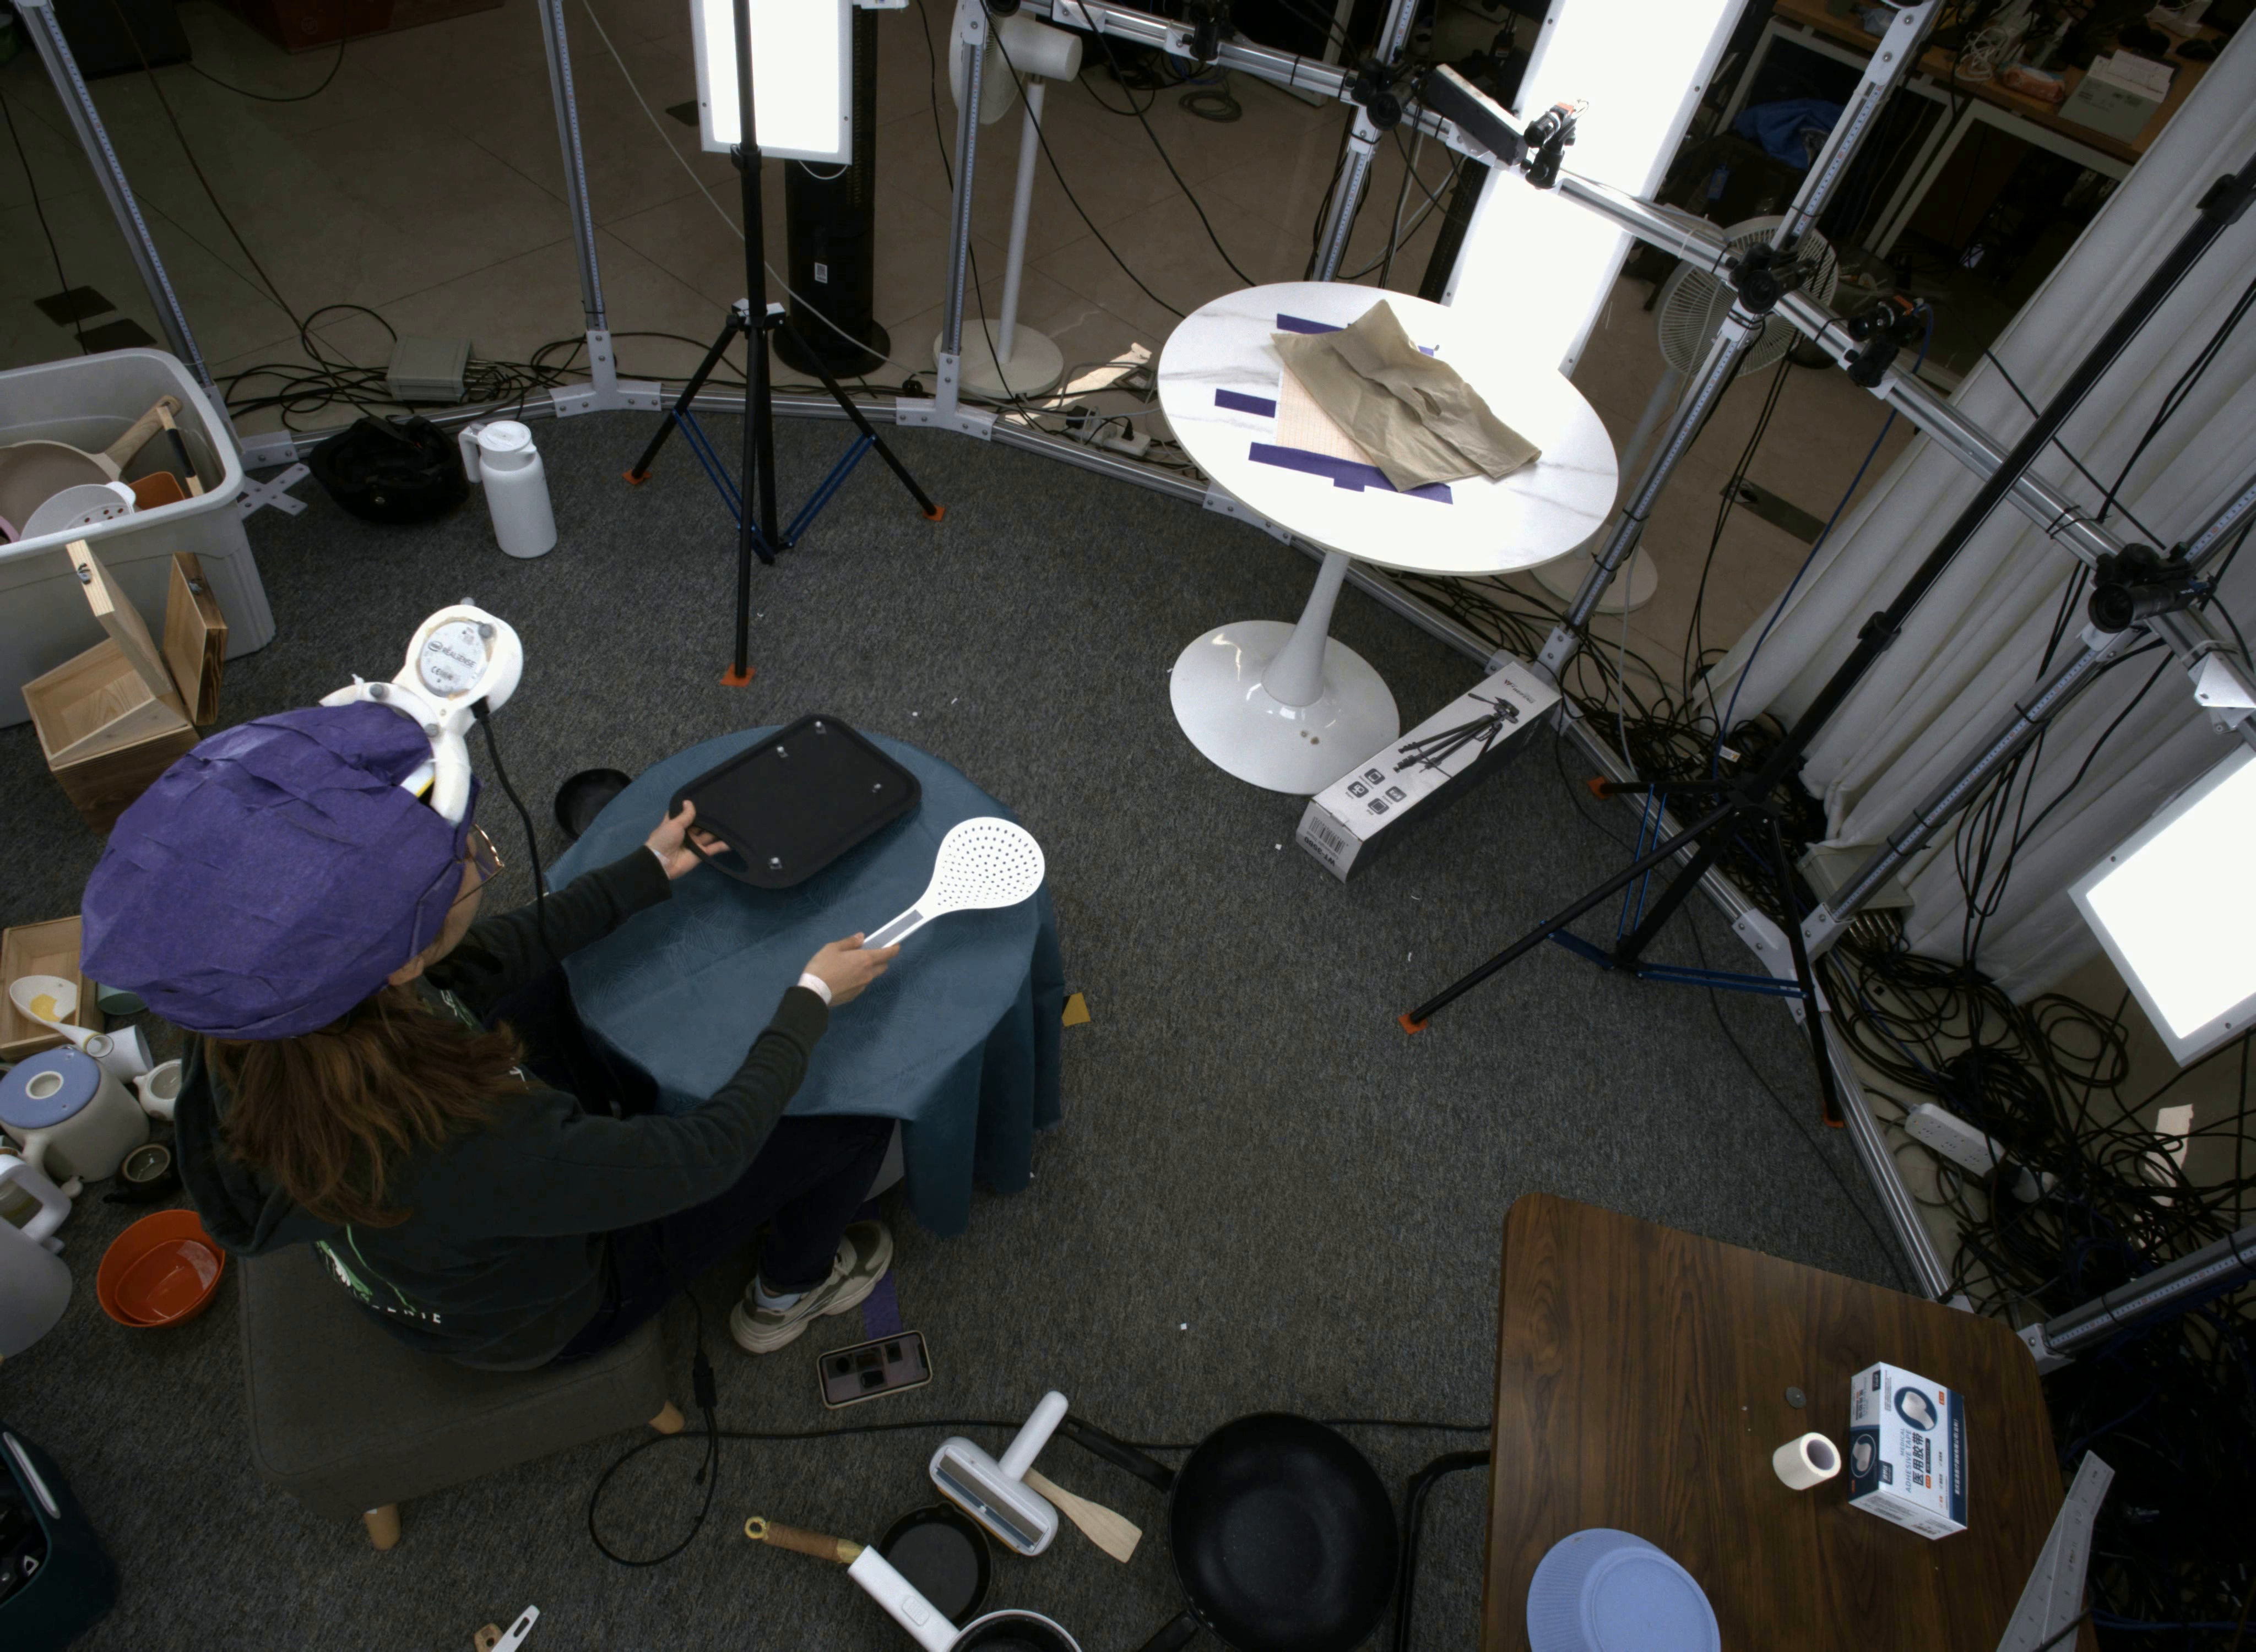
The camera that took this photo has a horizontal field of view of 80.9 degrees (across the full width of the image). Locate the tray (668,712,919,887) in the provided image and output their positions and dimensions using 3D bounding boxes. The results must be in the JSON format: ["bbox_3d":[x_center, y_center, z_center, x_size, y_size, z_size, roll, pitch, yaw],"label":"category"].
[{"bbox_3d":[-0.434,-0.040,1.688,0.207,0.010,0.326,37,43,11],"label":"tray"}]

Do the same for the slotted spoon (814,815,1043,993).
[{"bbox_3d":[-0.248,0.099,1.625,0.134,0.046,0.351,43,49,13],"label":"slotted spoon"}]
